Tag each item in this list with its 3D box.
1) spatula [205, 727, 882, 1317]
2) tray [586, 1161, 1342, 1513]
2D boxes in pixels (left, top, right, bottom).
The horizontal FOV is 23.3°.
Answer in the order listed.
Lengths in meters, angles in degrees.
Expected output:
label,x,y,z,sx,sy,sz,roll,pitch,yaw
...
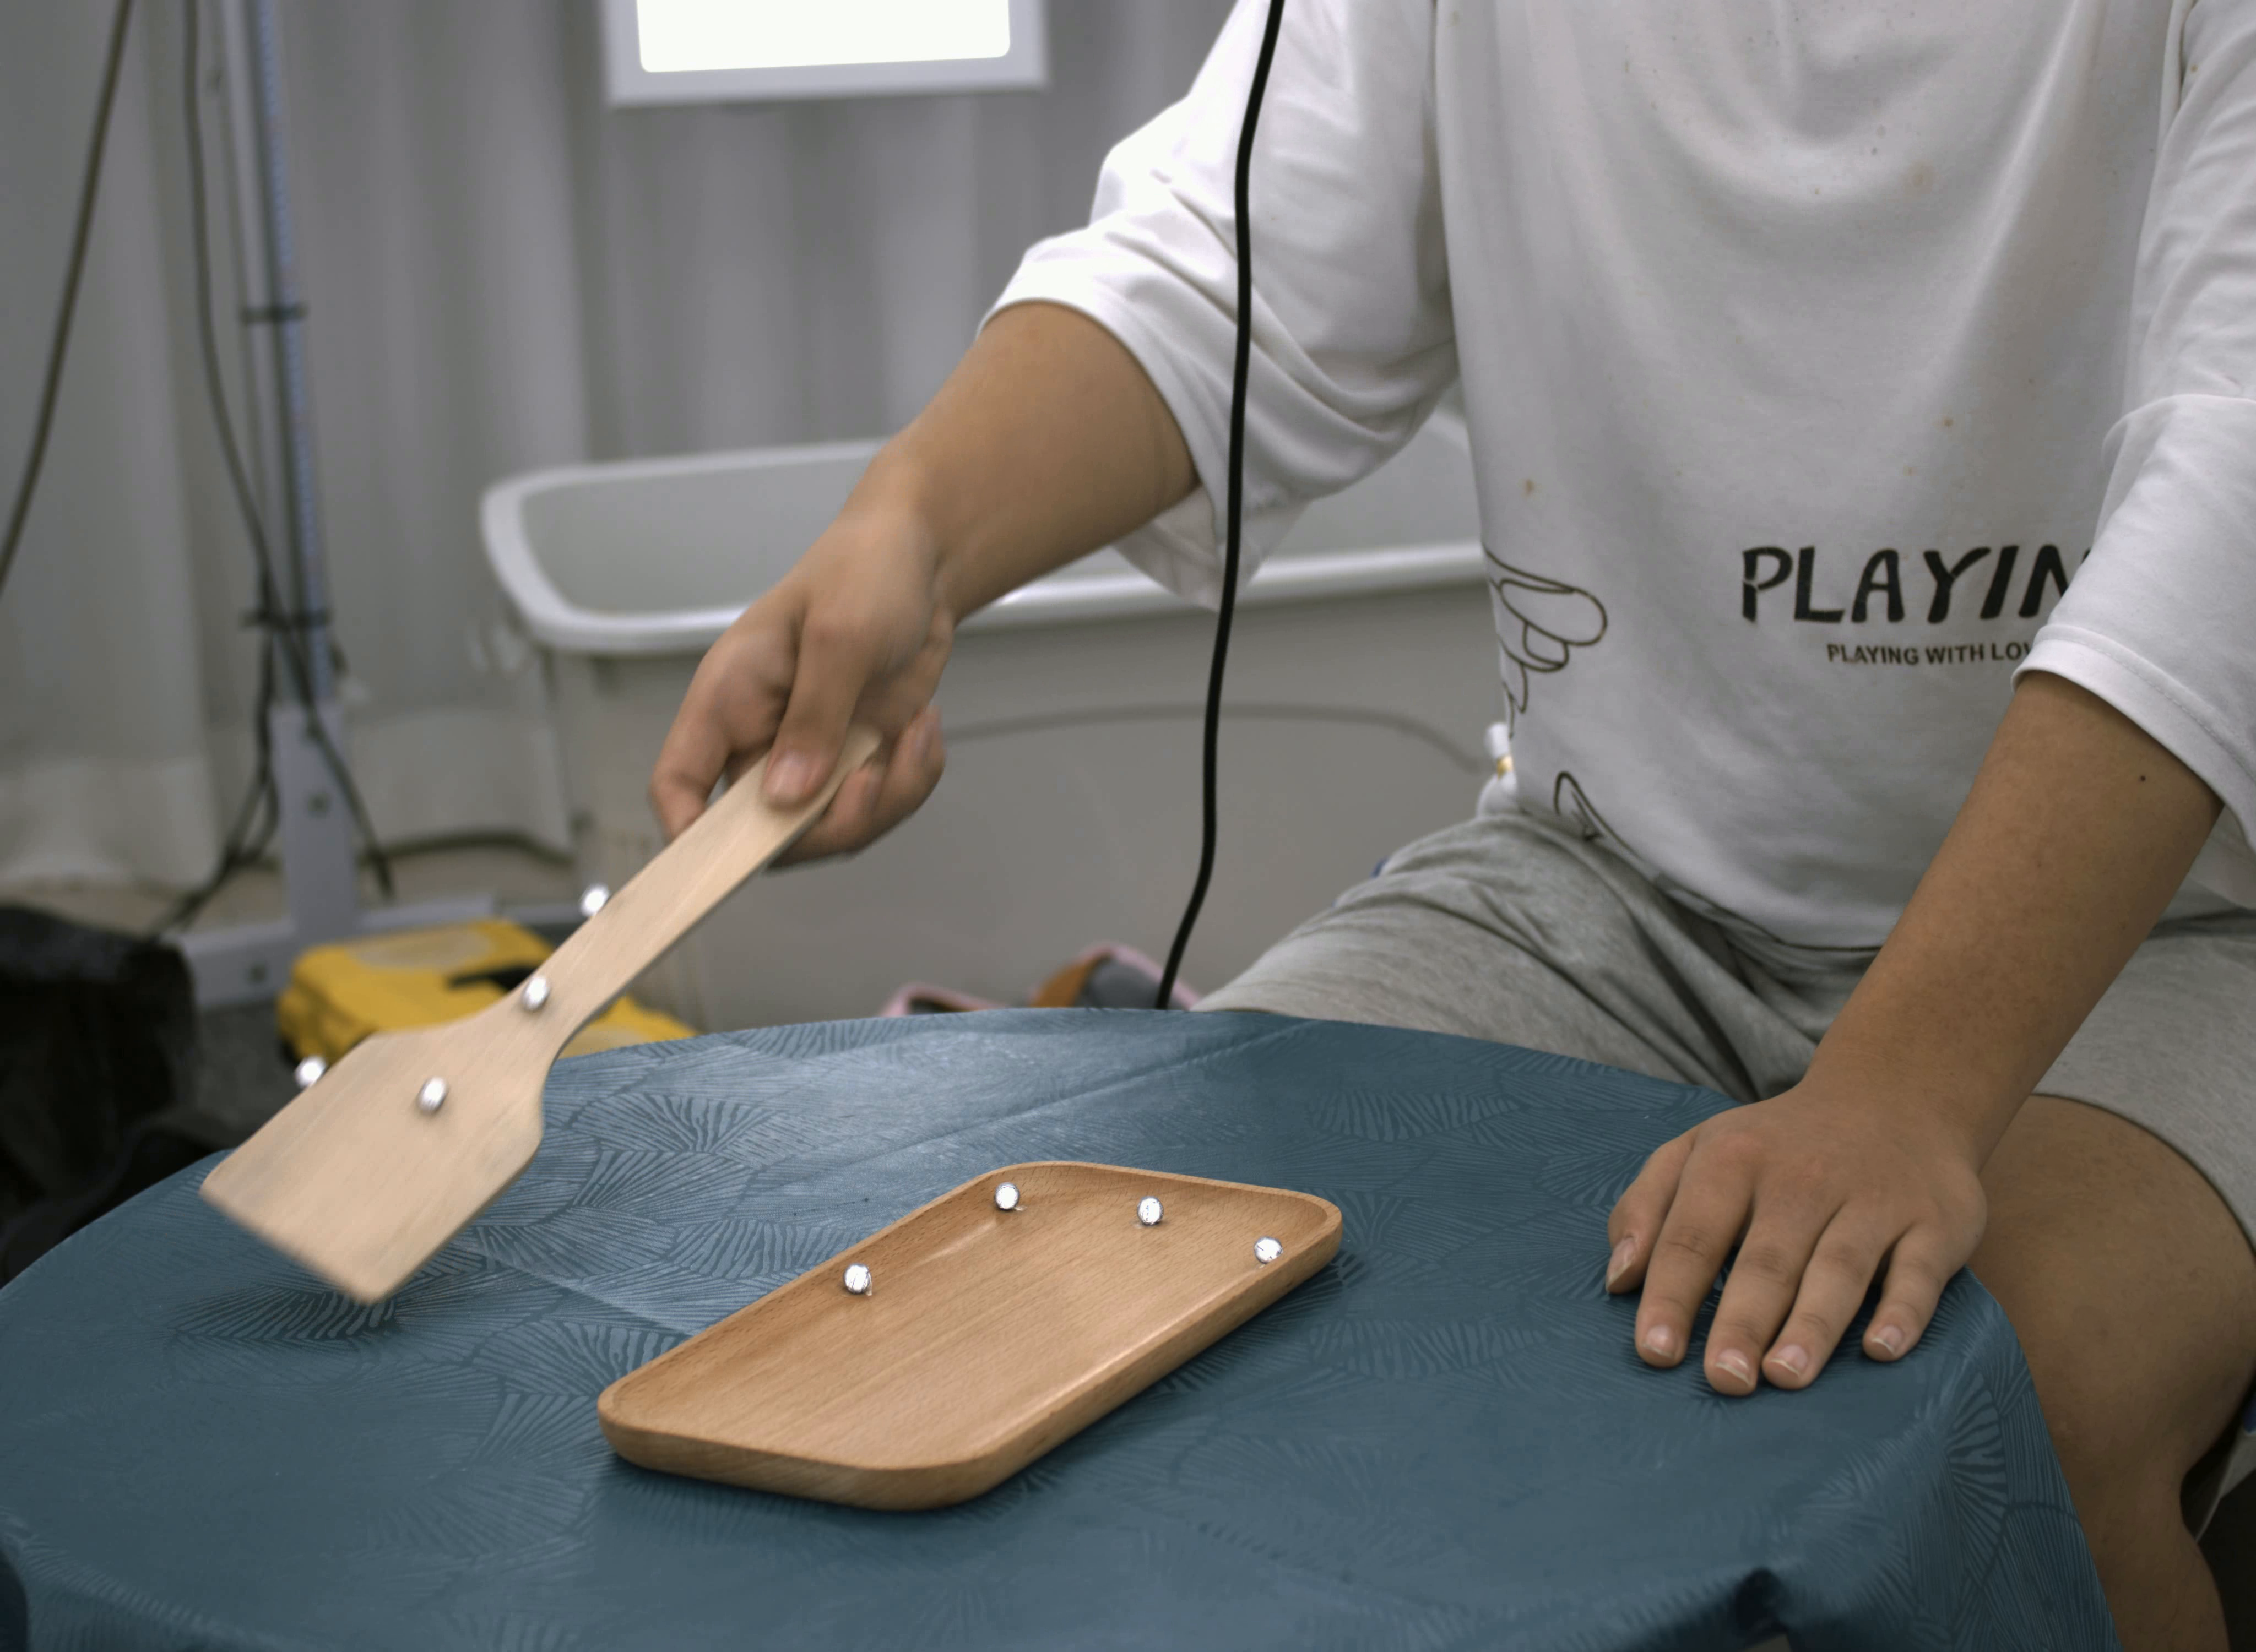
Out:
label,x,y,z,sx,sy,sz,roll,pitch,yaw
spatula,-0.171,0.051,1.714,0.072,0.010,0.295,30,48,18
tray,-0.043,0.145,1.581,0.131,0.023,0.251,4,16,31
